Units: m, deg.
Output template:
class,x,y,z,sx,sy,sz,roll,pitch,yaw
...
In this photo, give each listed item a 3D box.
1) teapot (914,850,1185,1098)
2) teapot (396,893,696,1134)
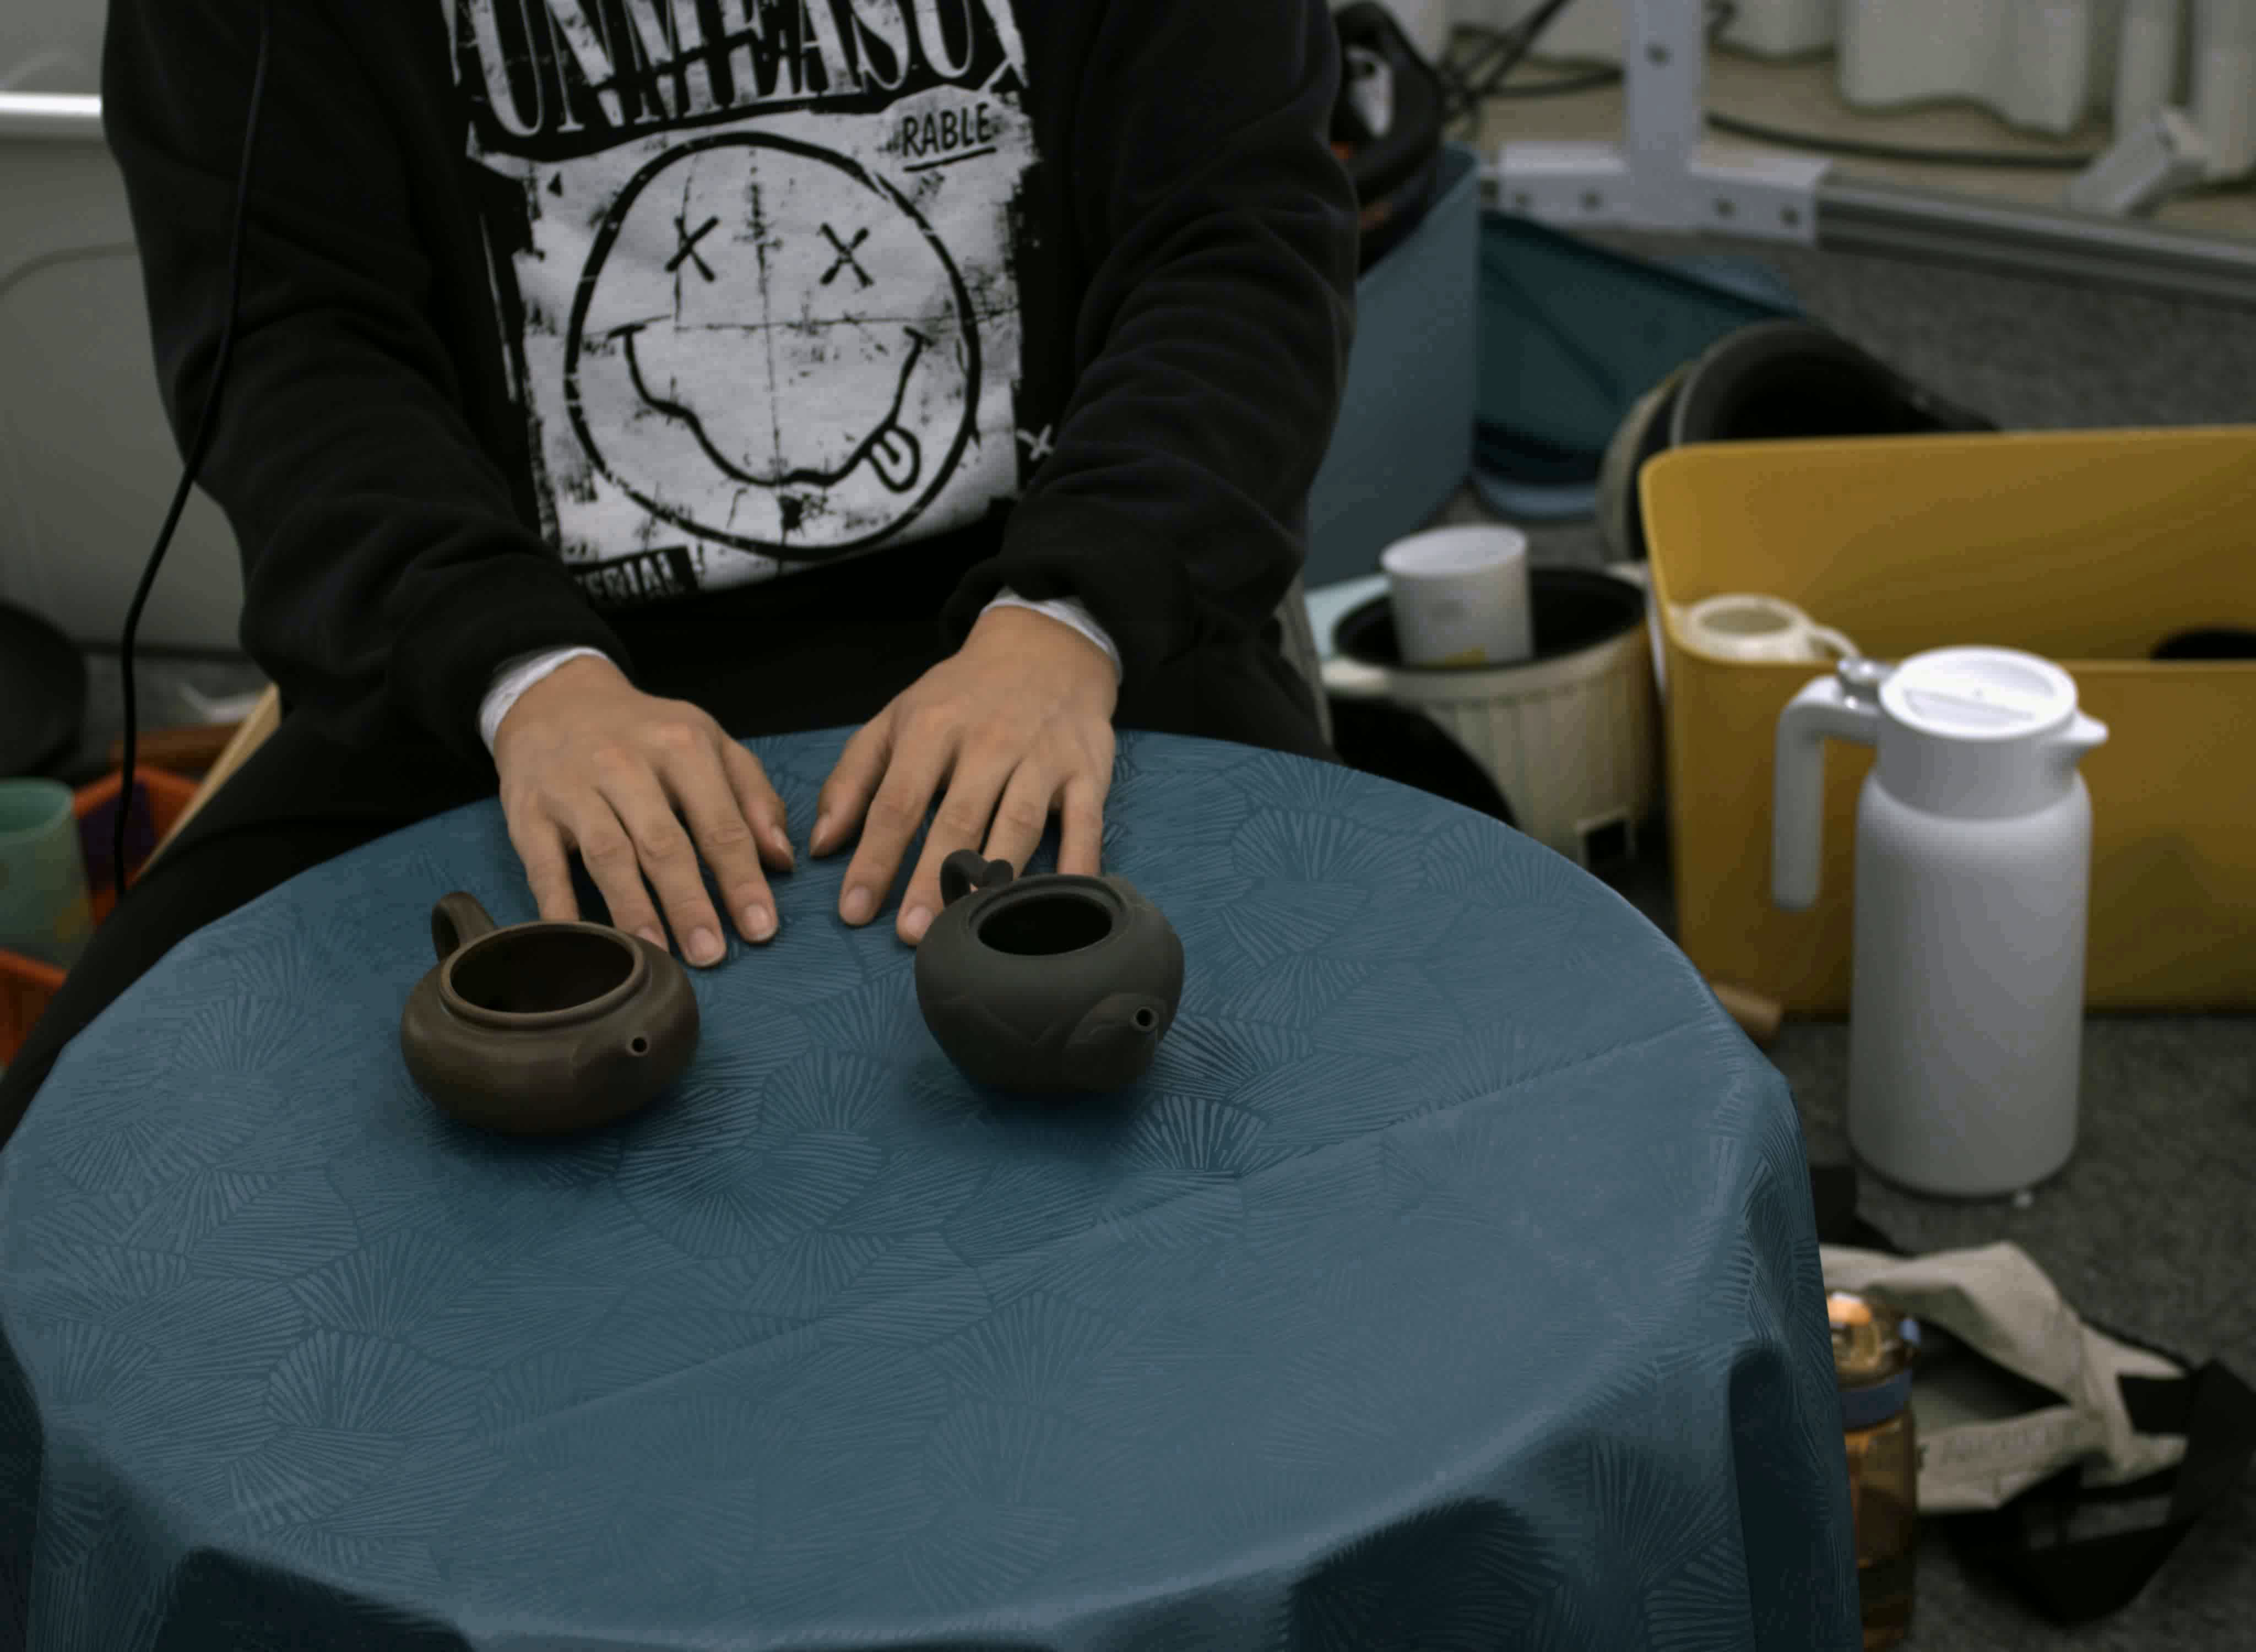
class,x,y,z,sx,sy,sz,roll,pitch,yaw
teapot,-0.028,0.053,1.926,0.093,0.064,0.155,-14,29,-24
teapot,-0.202,0.066,1.928,0.103,0.053,0.153,-19,32,-33
